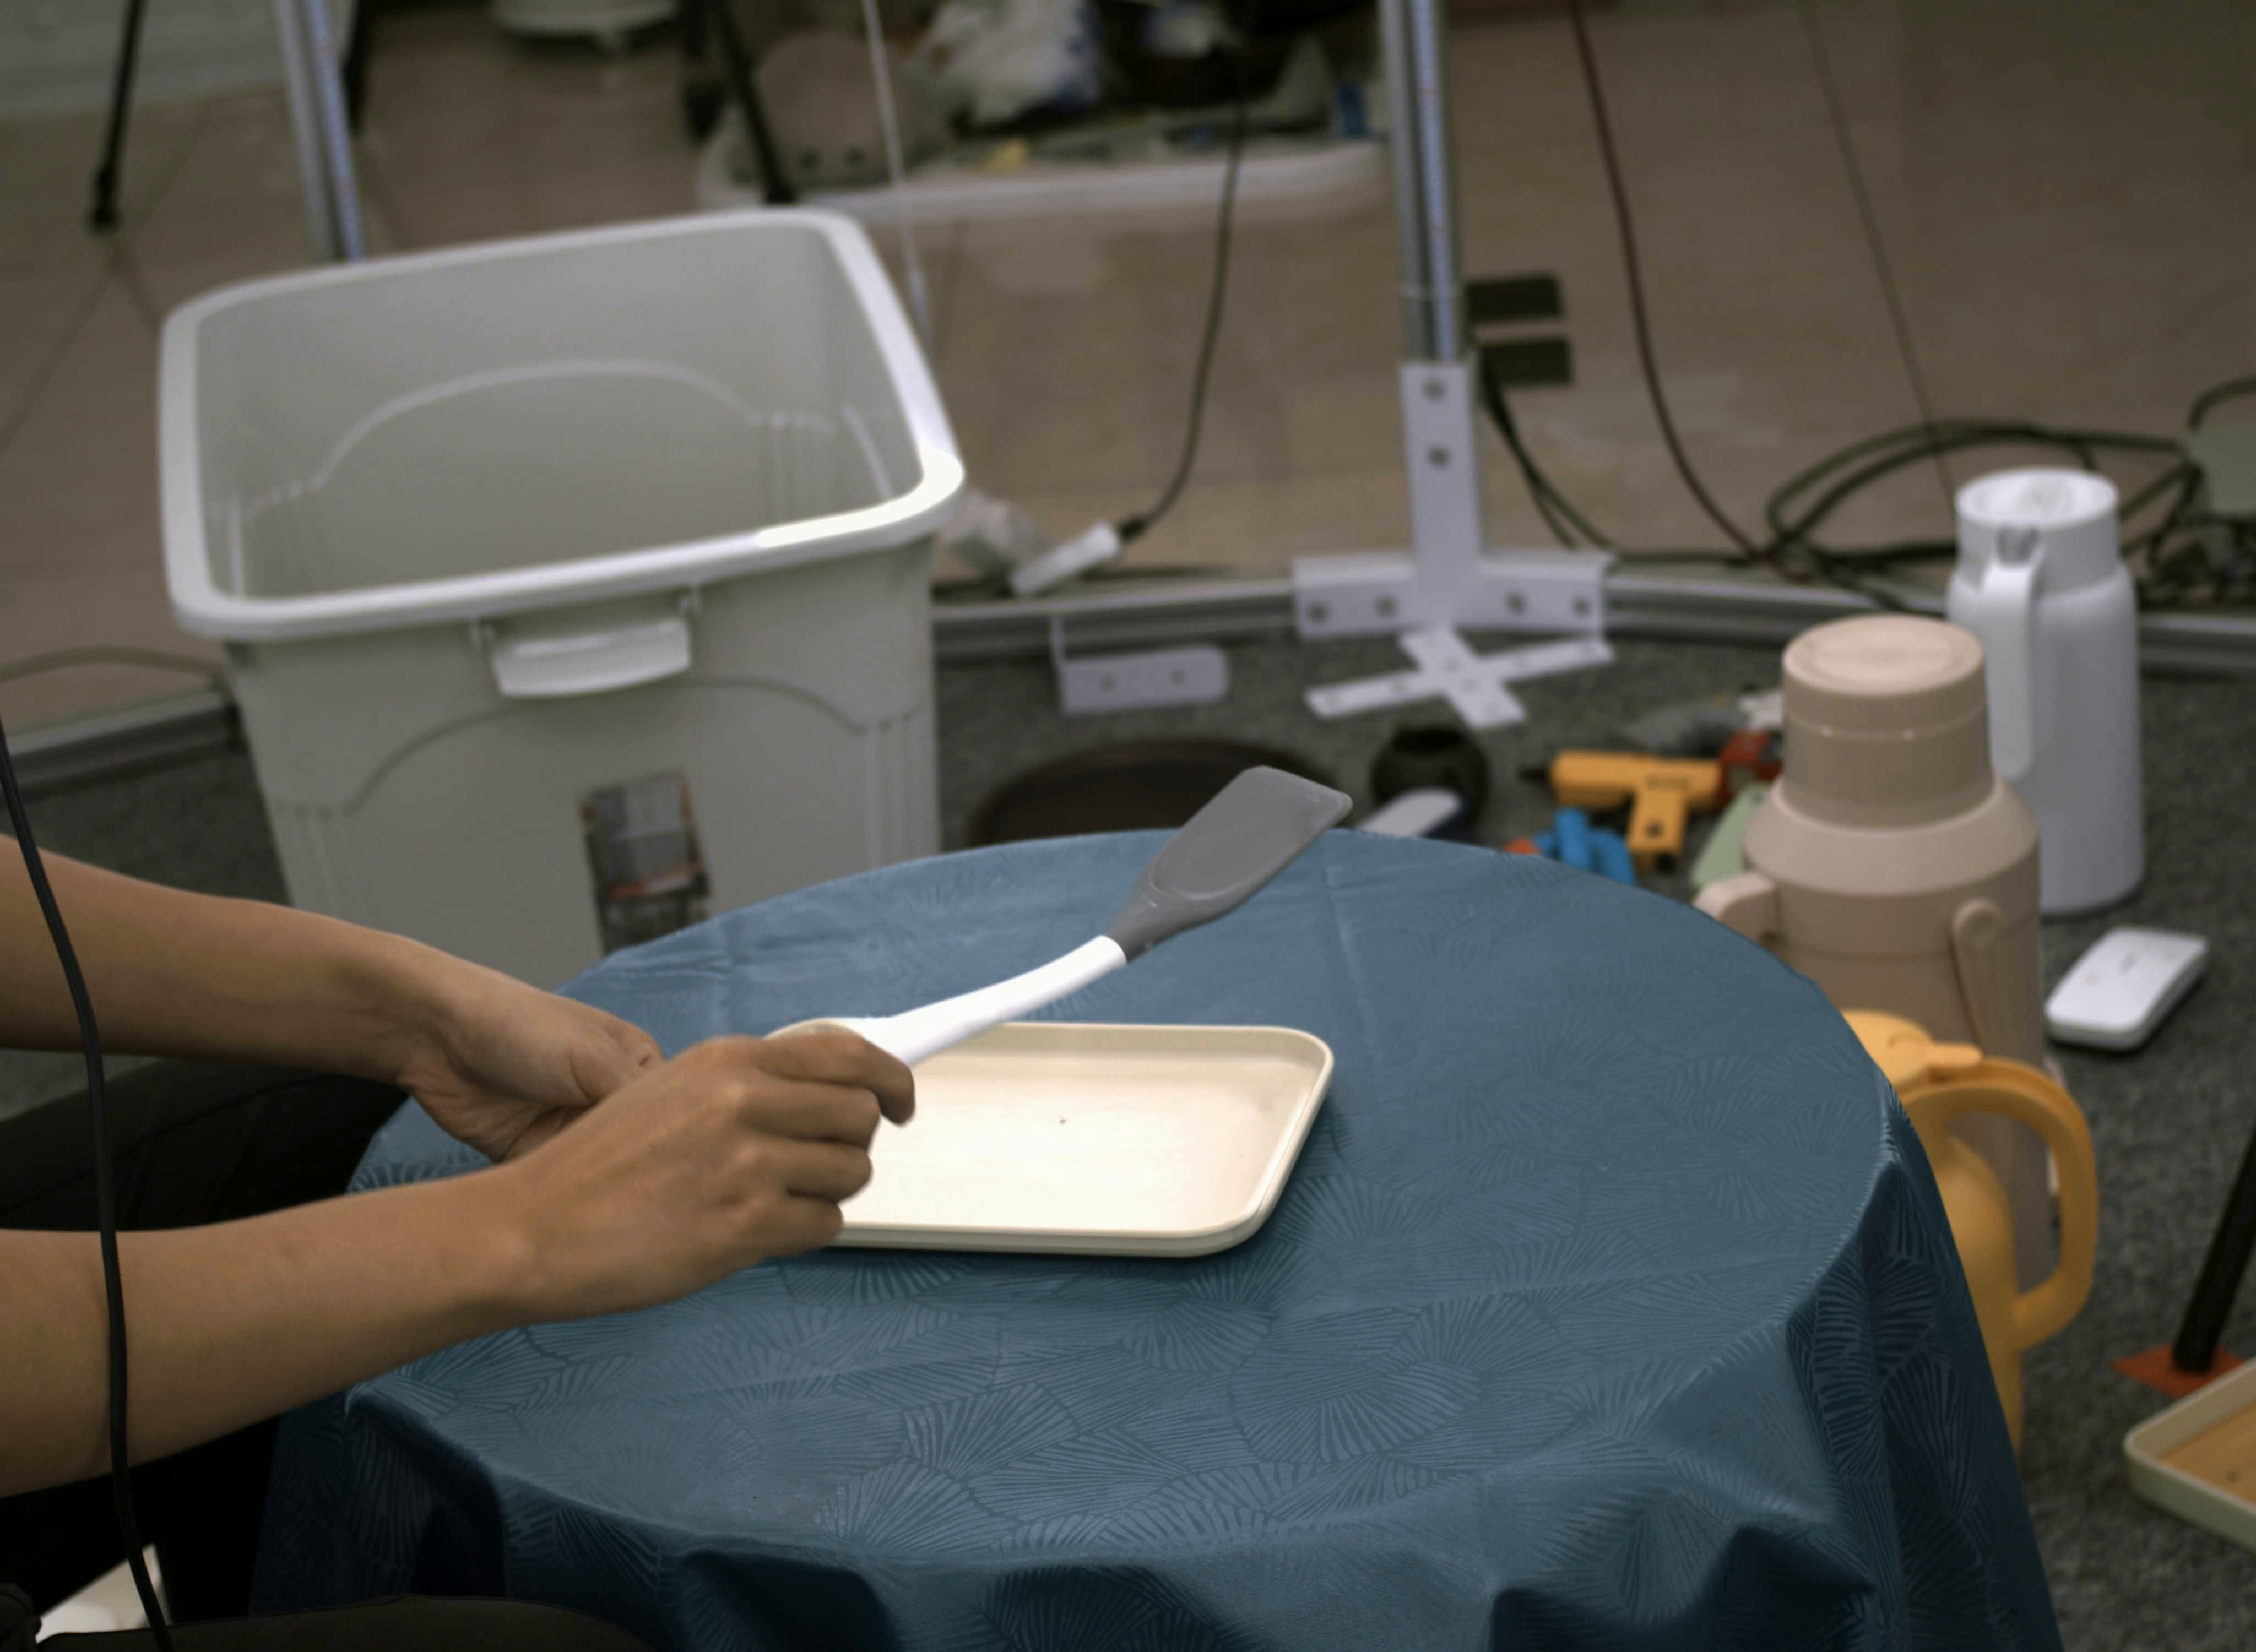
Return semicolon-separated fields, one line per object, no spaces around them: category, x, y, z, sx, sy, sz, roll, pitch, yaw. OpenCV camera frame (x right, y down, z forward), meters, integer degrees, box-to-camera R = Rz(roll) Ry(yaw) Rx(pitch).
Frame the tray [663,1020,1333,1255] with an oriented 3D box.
tray;-0.048;0.120;2.182;0.239;0.018;0.169;1;25;15

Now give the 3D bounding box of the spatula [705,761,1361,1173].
spatula;-0.032;0.046;1.980;0.285;0.033;0.058;-30;32;-36
